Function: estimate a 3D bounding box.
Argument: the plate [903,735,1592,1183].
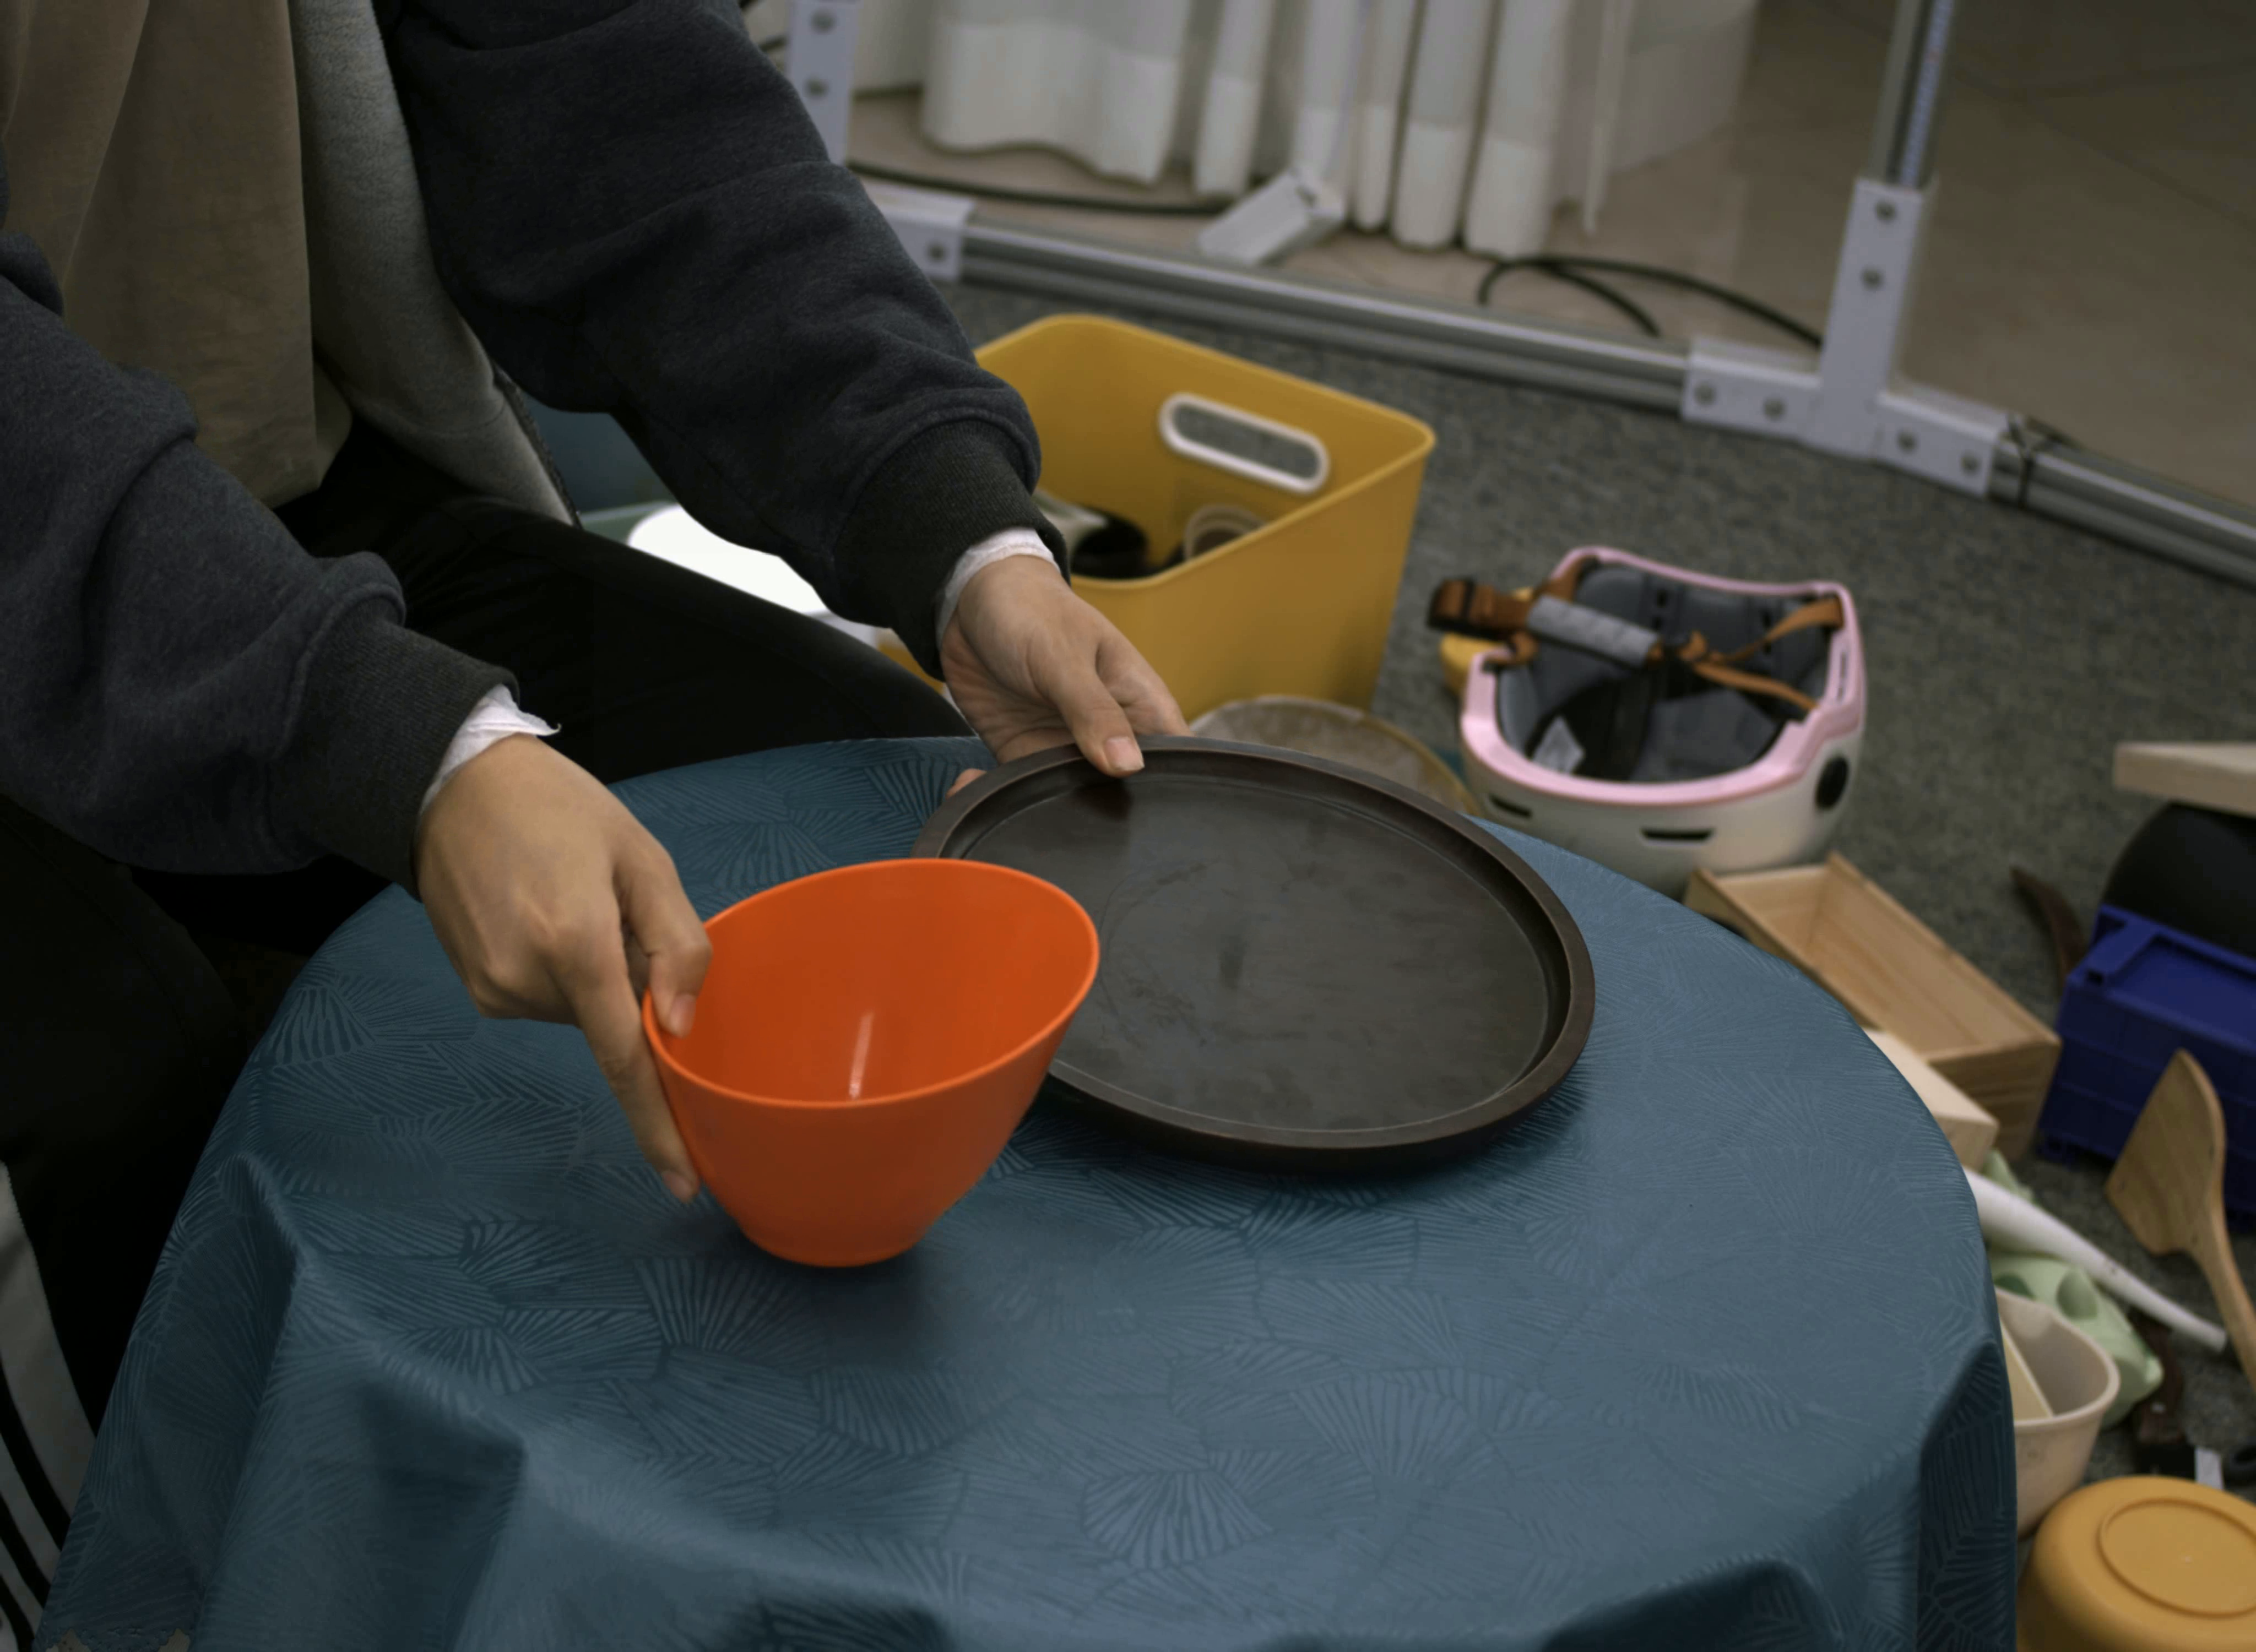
[{"bbox_3d":[0.042,0.046,1.907,0.254,0.029,0.256,7,34,-5],"label":"plate"}]

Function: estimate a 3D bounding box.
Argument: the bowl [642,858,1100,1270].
[{"bbox_3d":[-0.084,0.084,1.727,0.147,0.104,0.149,1,31,-1],"label":"bowl"}]
